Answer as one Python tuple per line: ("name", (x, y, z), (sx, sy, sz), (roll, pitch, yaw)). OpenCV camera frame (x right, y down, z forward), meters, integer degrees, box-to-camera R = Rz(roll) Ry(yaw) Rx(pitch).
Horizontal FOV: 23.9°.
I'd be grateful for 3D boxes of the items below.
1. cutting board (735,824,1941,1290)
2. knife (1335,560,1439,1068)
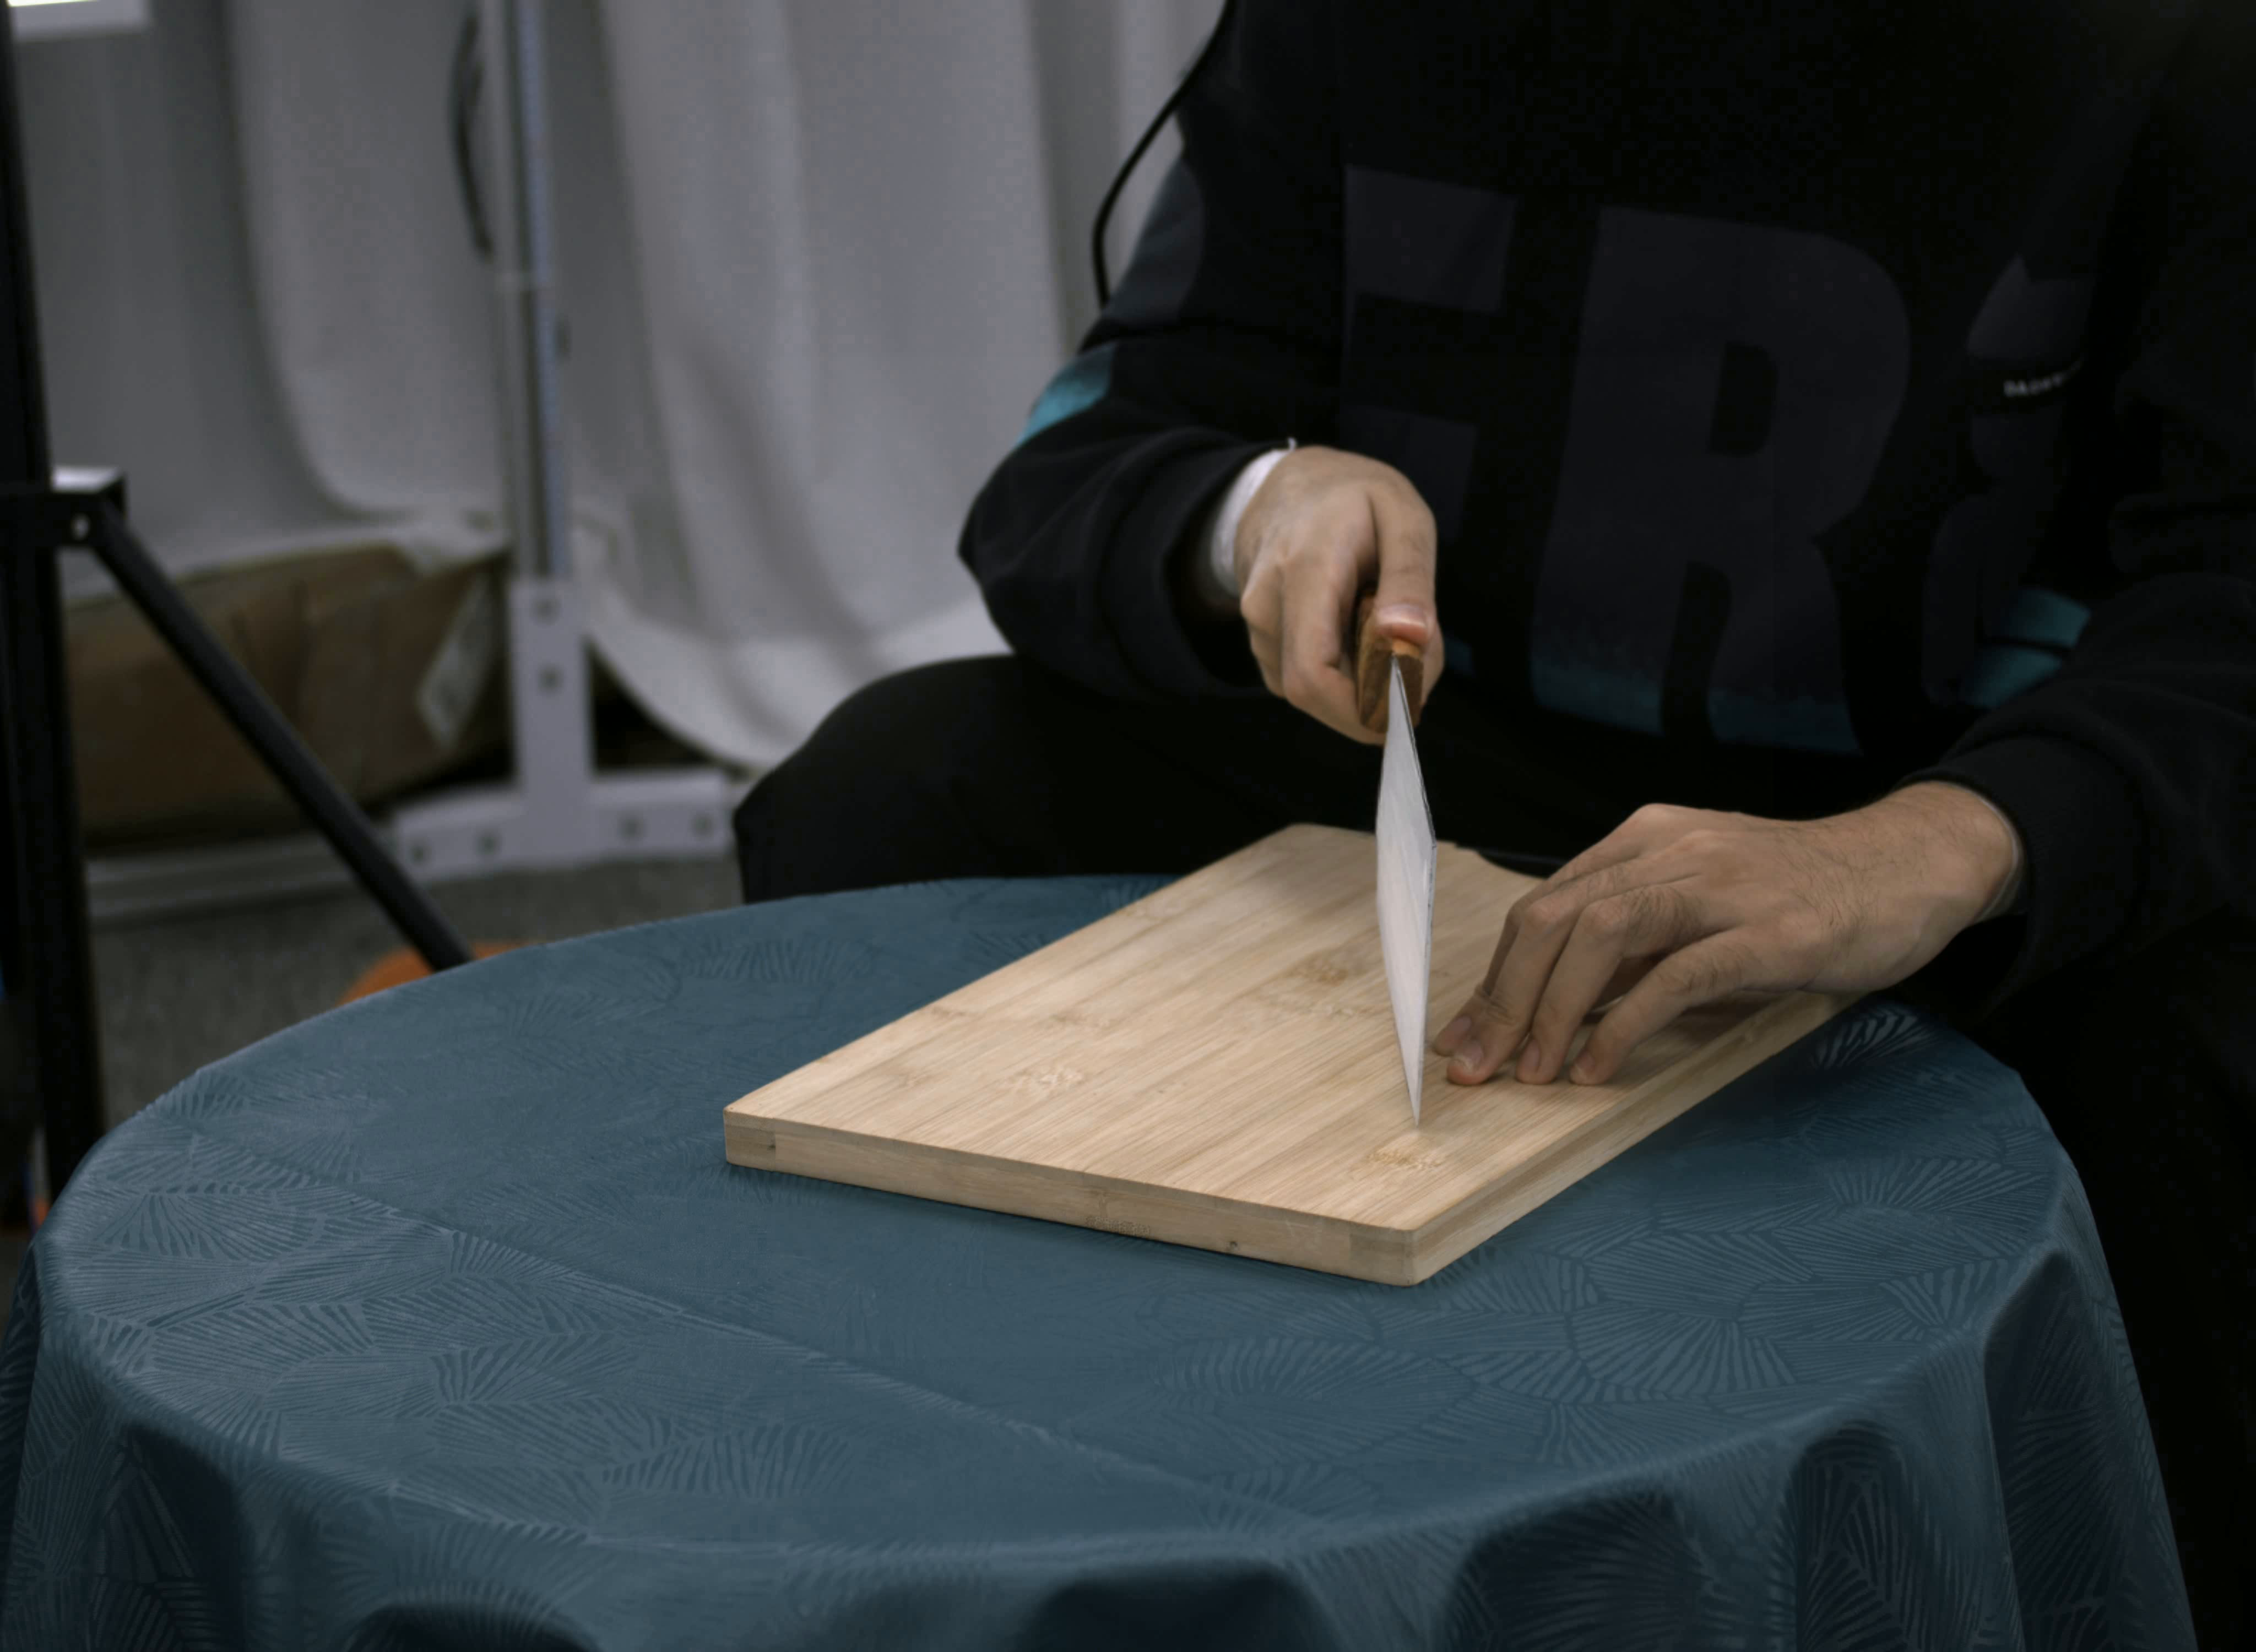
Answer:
("cutting board", (0.073, 0.064, 1.669), (0.255, 0.023, 0.342), (7, 19, 32))
("knife", (0.083, -0.005, 1.671), (0.021, 0.093, 0.307), (2, 19, -2))
